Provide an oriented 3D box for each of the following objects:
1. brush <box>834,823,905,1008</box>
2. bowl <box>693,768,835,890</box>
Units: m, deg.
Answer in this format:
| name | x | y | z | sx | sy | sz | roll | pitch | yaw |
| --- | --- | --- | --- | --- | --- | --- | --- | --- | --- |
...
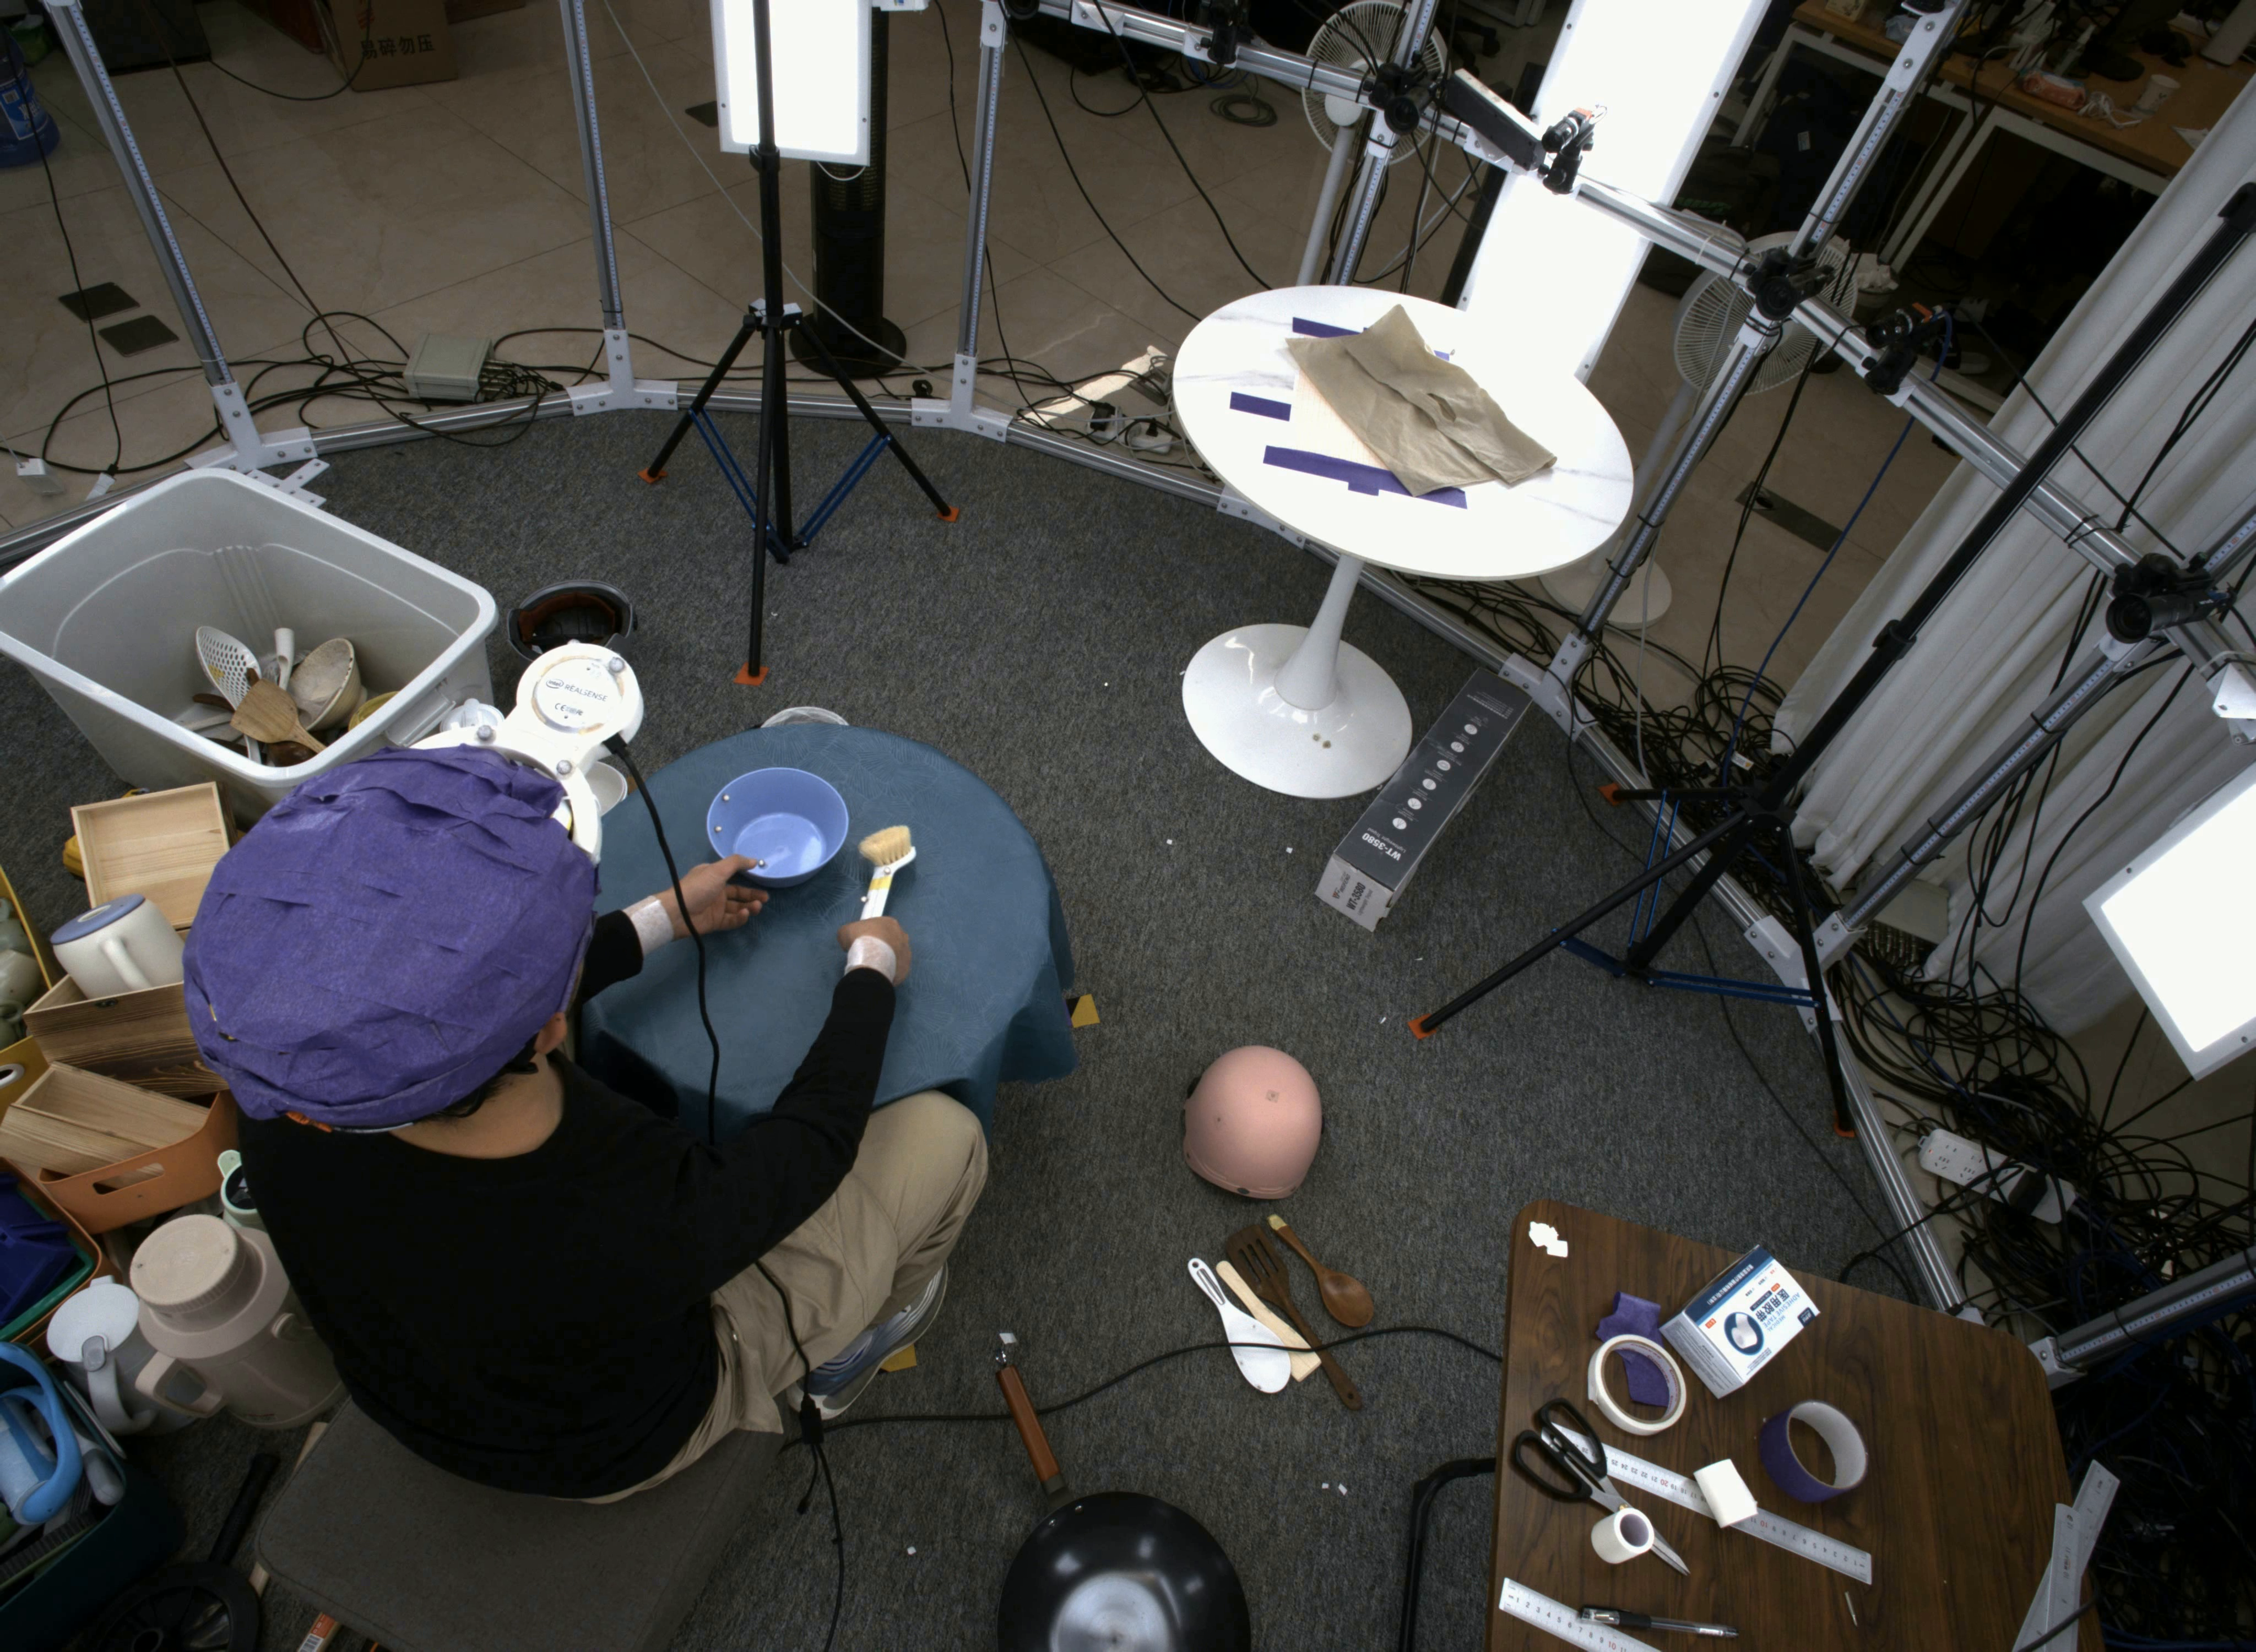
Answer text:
| name | x | y | z | sx | sy | sz | roll | pitch | yaw |
| --- | --- | --- | --- | --- | --- | --- | --- | --- | --- |
| brush | -0.334 | 0.099 | 1.613 | 0.067 | 0.058 | 0.262 | -16 | 42 | 27 |
| bowl | -0.462 | 0.014 | 1.652 | 0.175 | 0.072 | 0.173 | 7 | 53 | -8 |
